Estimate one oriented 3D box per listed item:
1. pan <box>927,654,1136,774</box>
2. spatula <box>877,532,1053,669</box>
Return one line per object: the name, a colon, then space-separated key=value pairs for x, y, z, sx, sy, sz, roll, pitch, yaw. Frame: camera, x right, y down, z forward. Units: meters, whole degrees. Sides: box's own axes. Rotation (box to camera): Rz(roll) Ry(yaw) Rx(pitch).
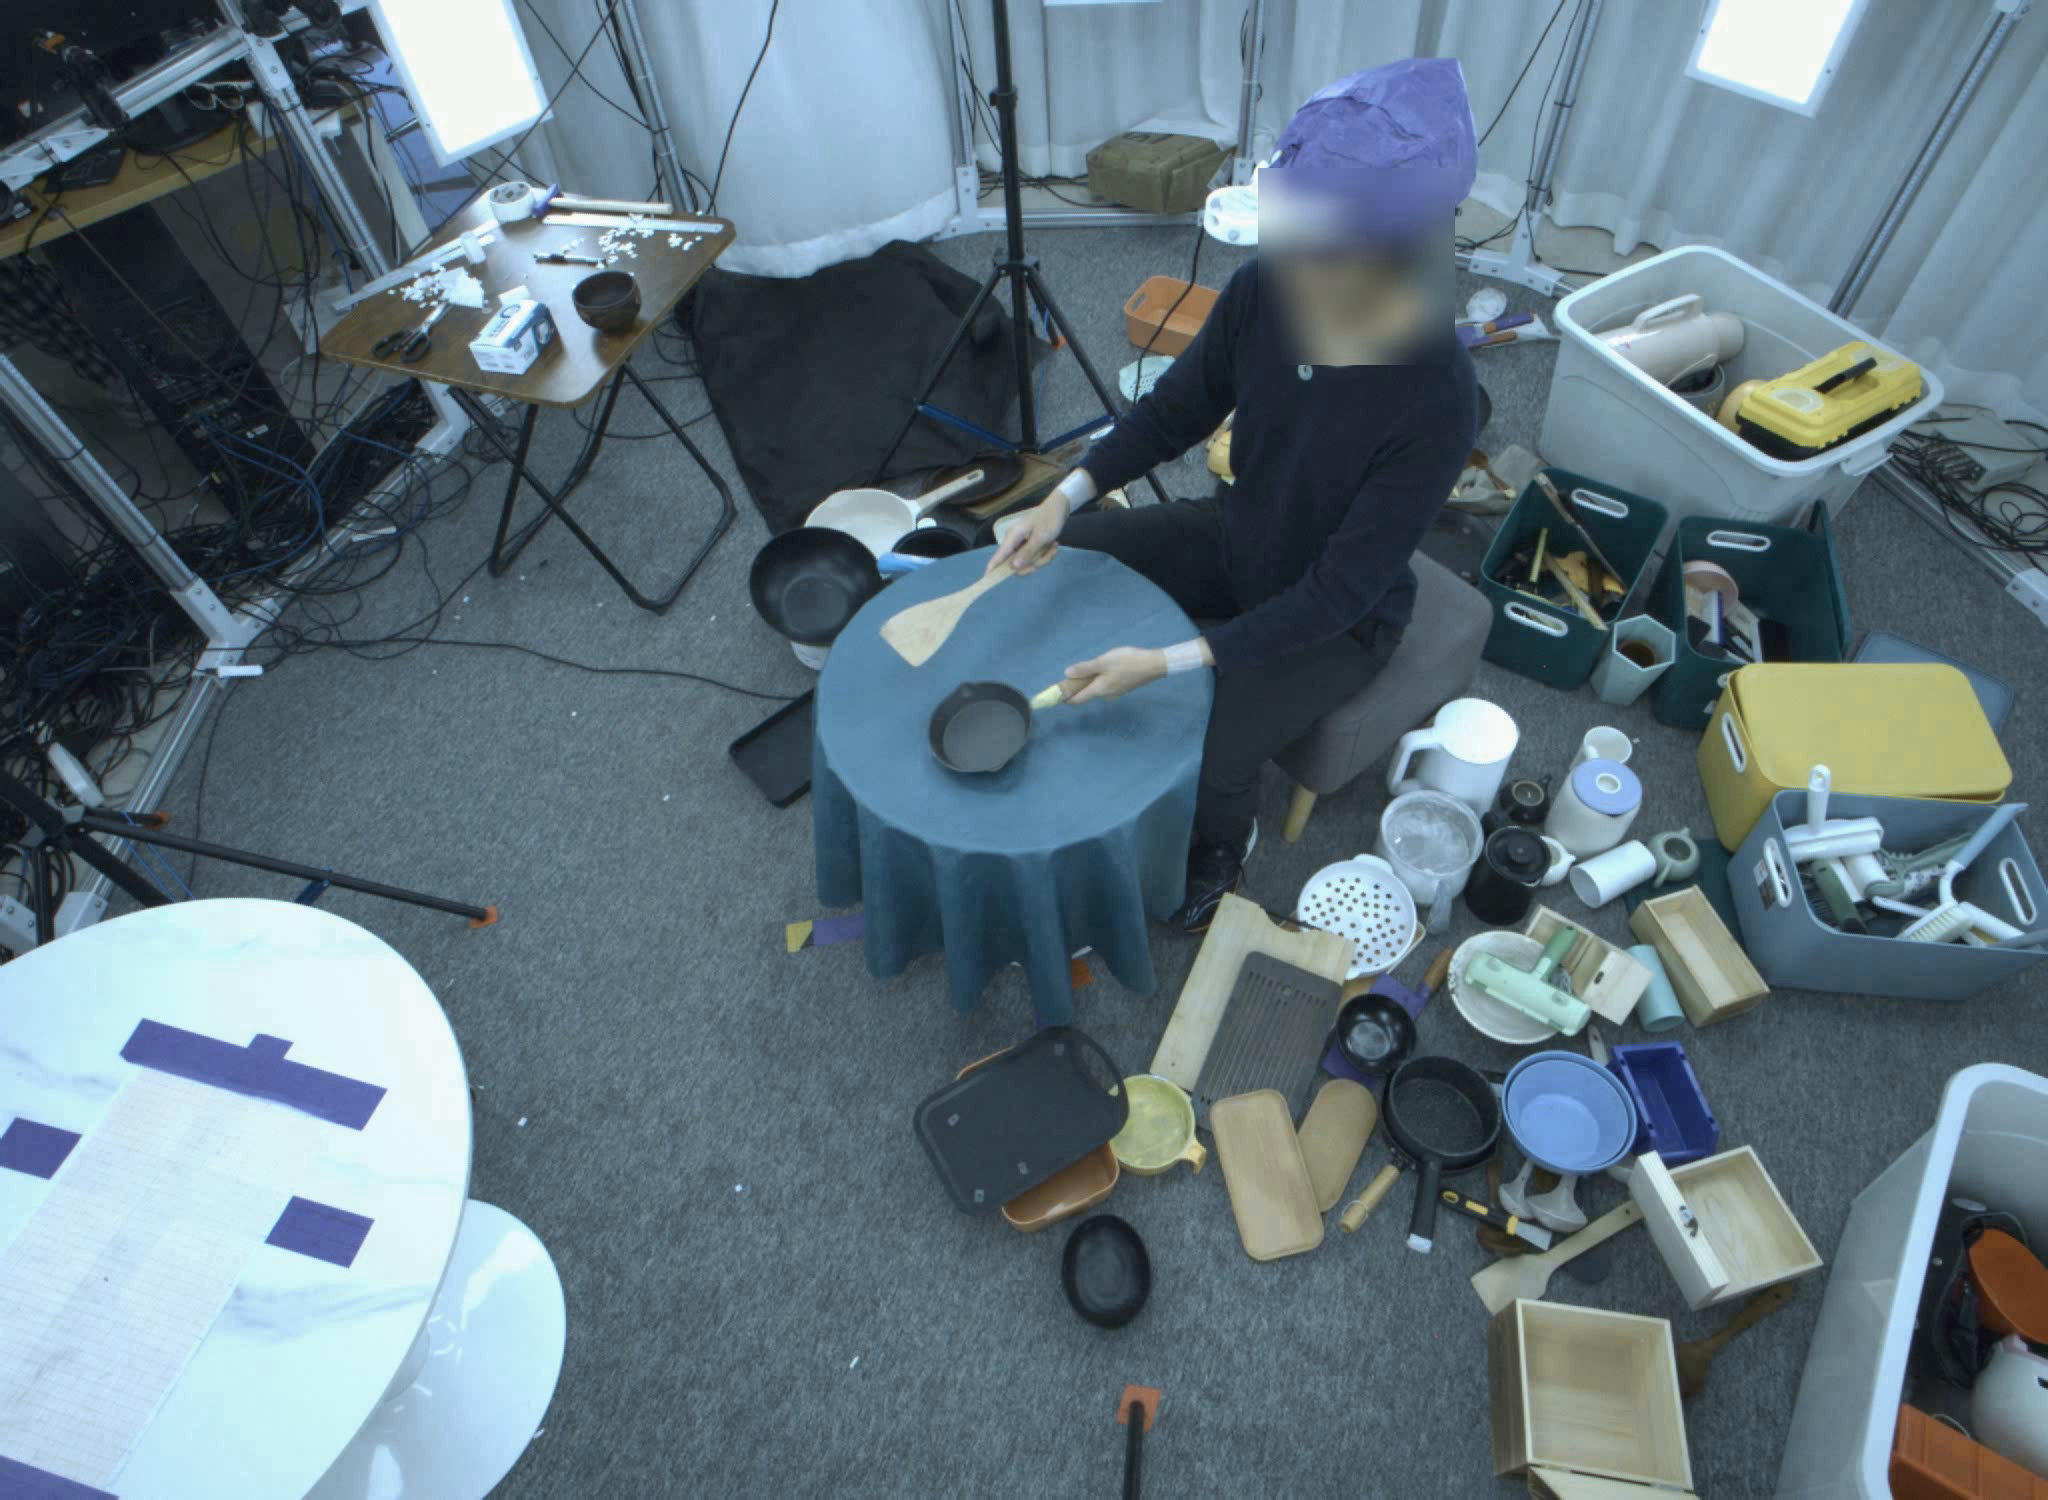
pan: x=0.015 y=-0.063 z=1.771 sx=0.324 sy=0.050 sz=0.166 roll=-22 pitch=56 yaw=1
spatula: x=-0.073 y=-0.230 z=1.792 sx=0.330 sy=0.016 sz=0.080 roll=-40 pitch=98 yaw=-24
